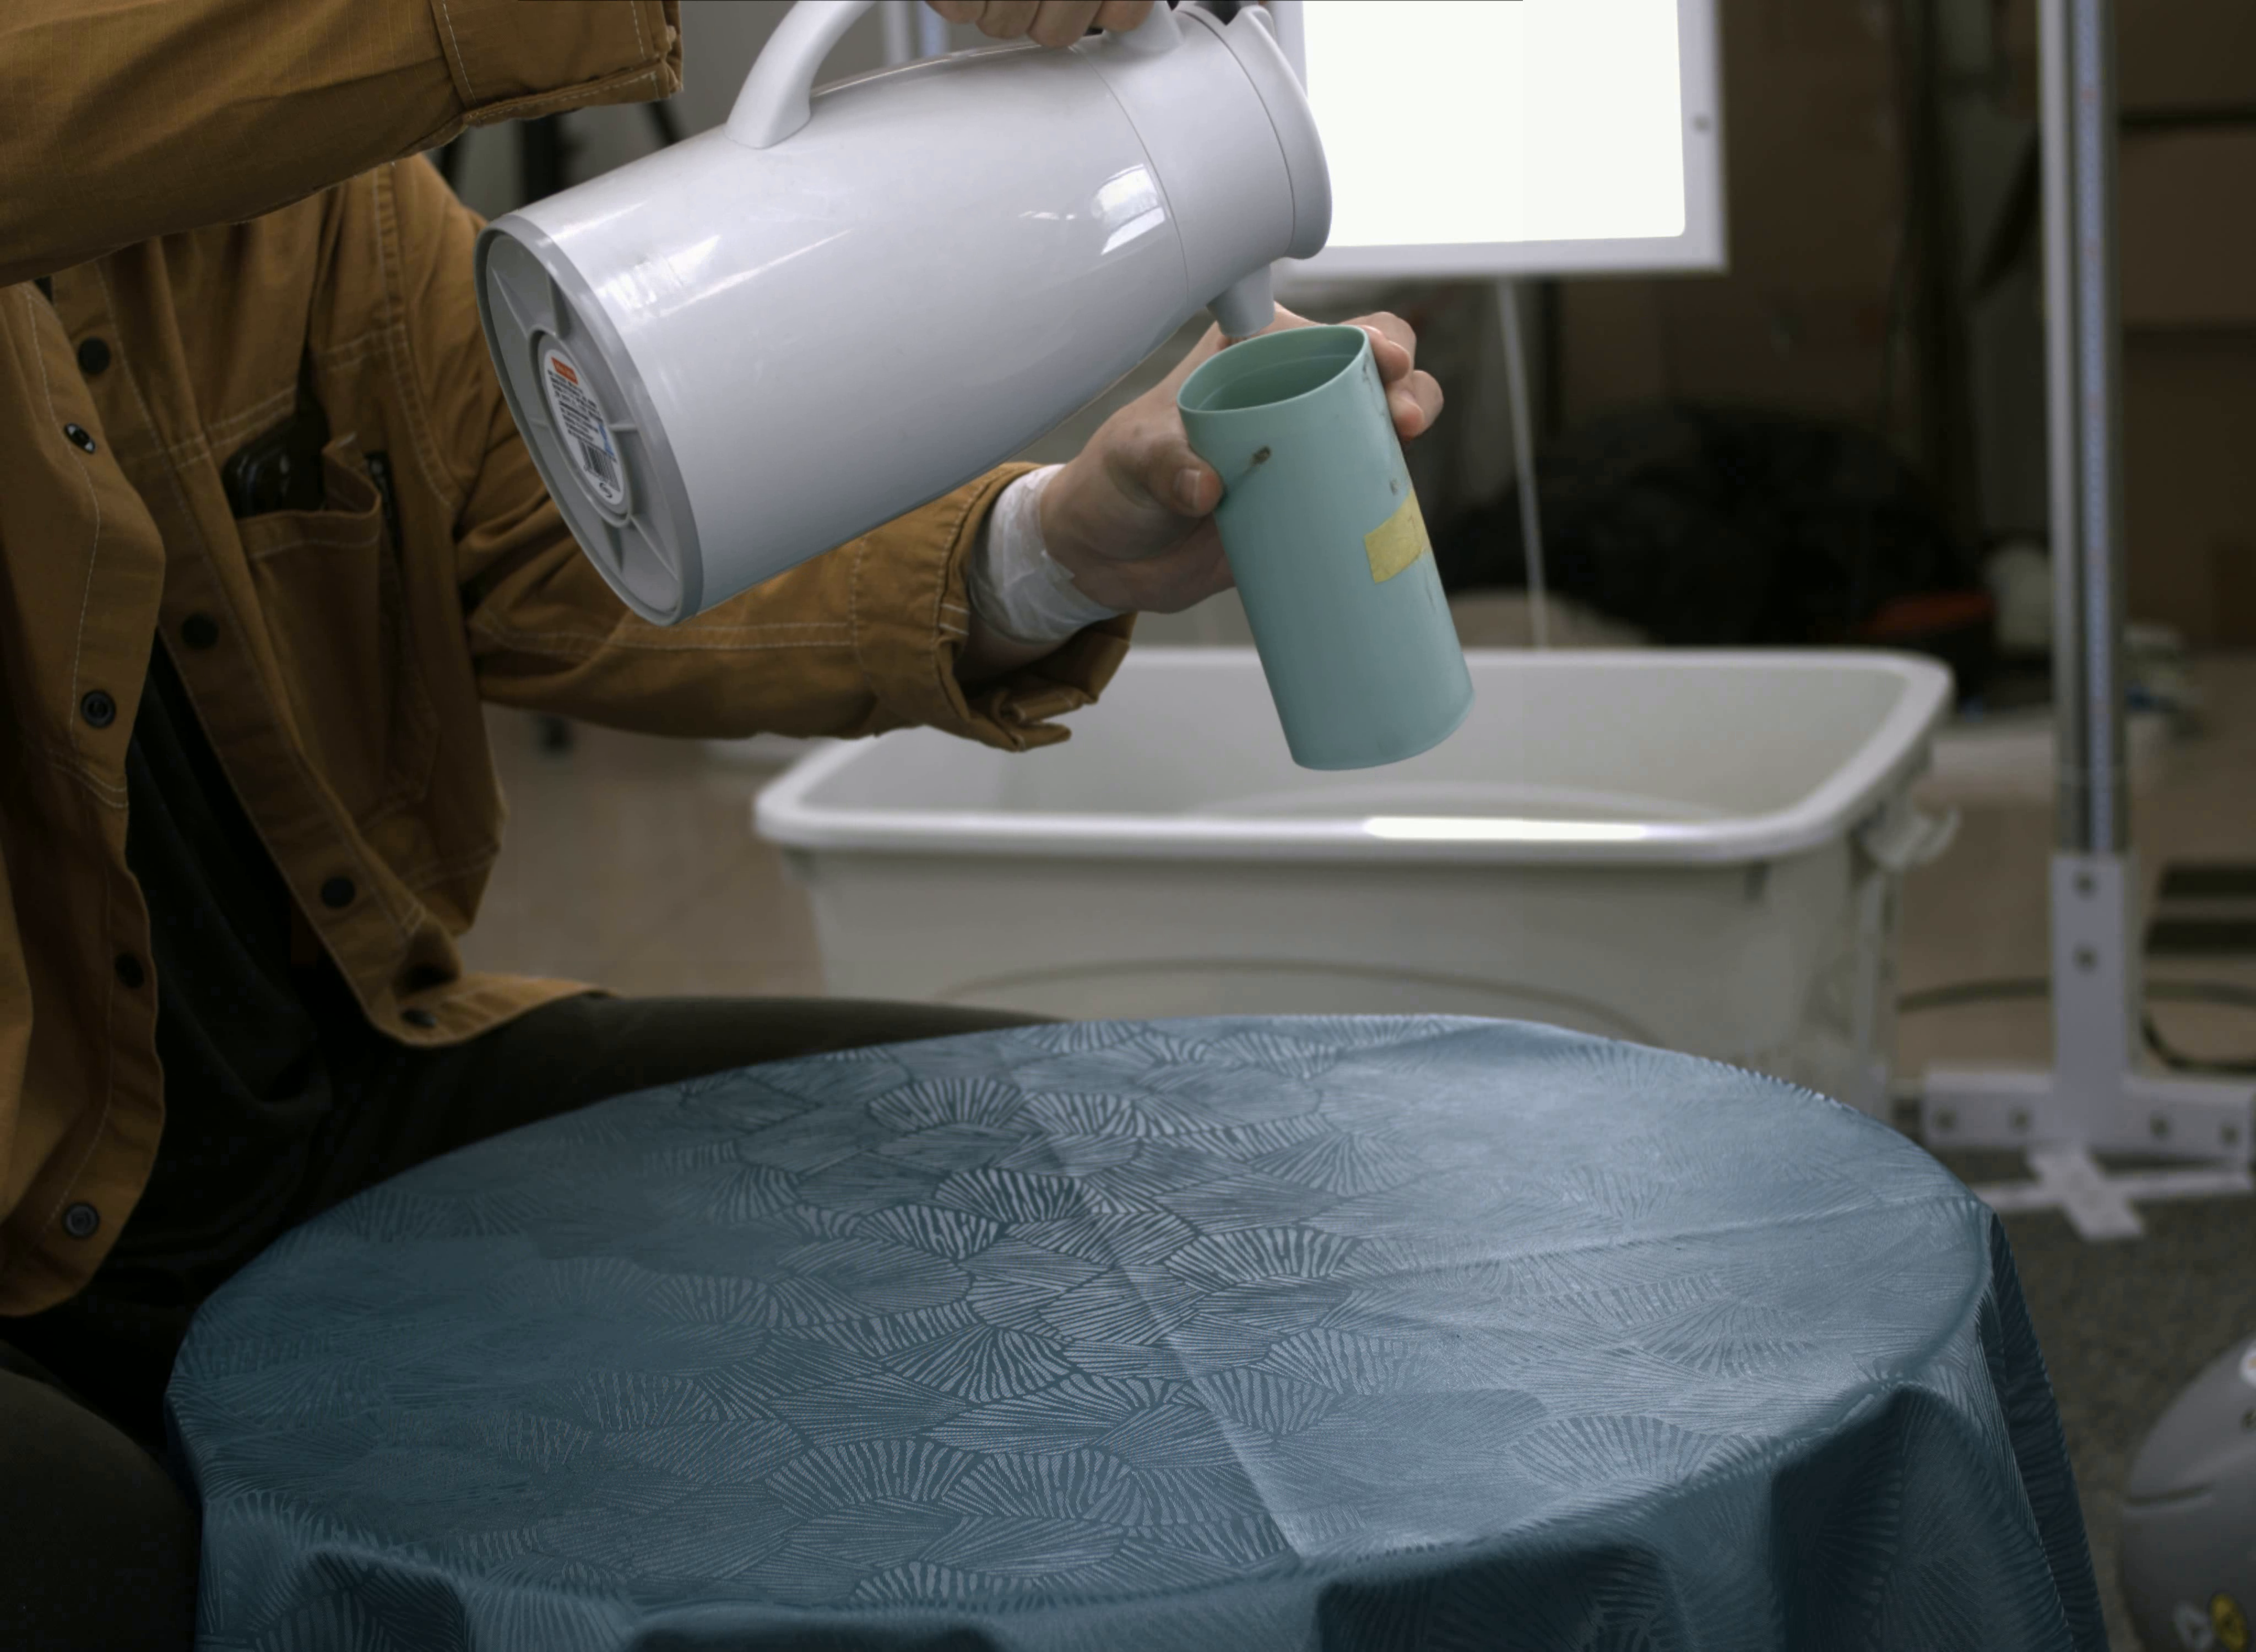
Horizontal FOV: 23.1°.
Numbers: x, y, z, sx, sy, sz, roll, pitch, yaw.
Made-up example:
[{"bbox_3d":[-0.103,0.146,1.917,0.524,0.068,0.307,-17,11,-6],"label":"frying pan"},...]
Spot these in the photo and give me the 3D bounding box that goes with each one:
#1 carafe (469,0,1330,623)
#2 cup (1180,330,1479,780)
[{"bbox_3d":[-0.064,-0.186,1.666,0.245,0.167,0.134,-26,32,-15],"label":"carafe"},{"bbox_3d":[0.065,-0.087,1.769,0.067,0.132,0.066,-16,24,6],"label":"cup"}]
